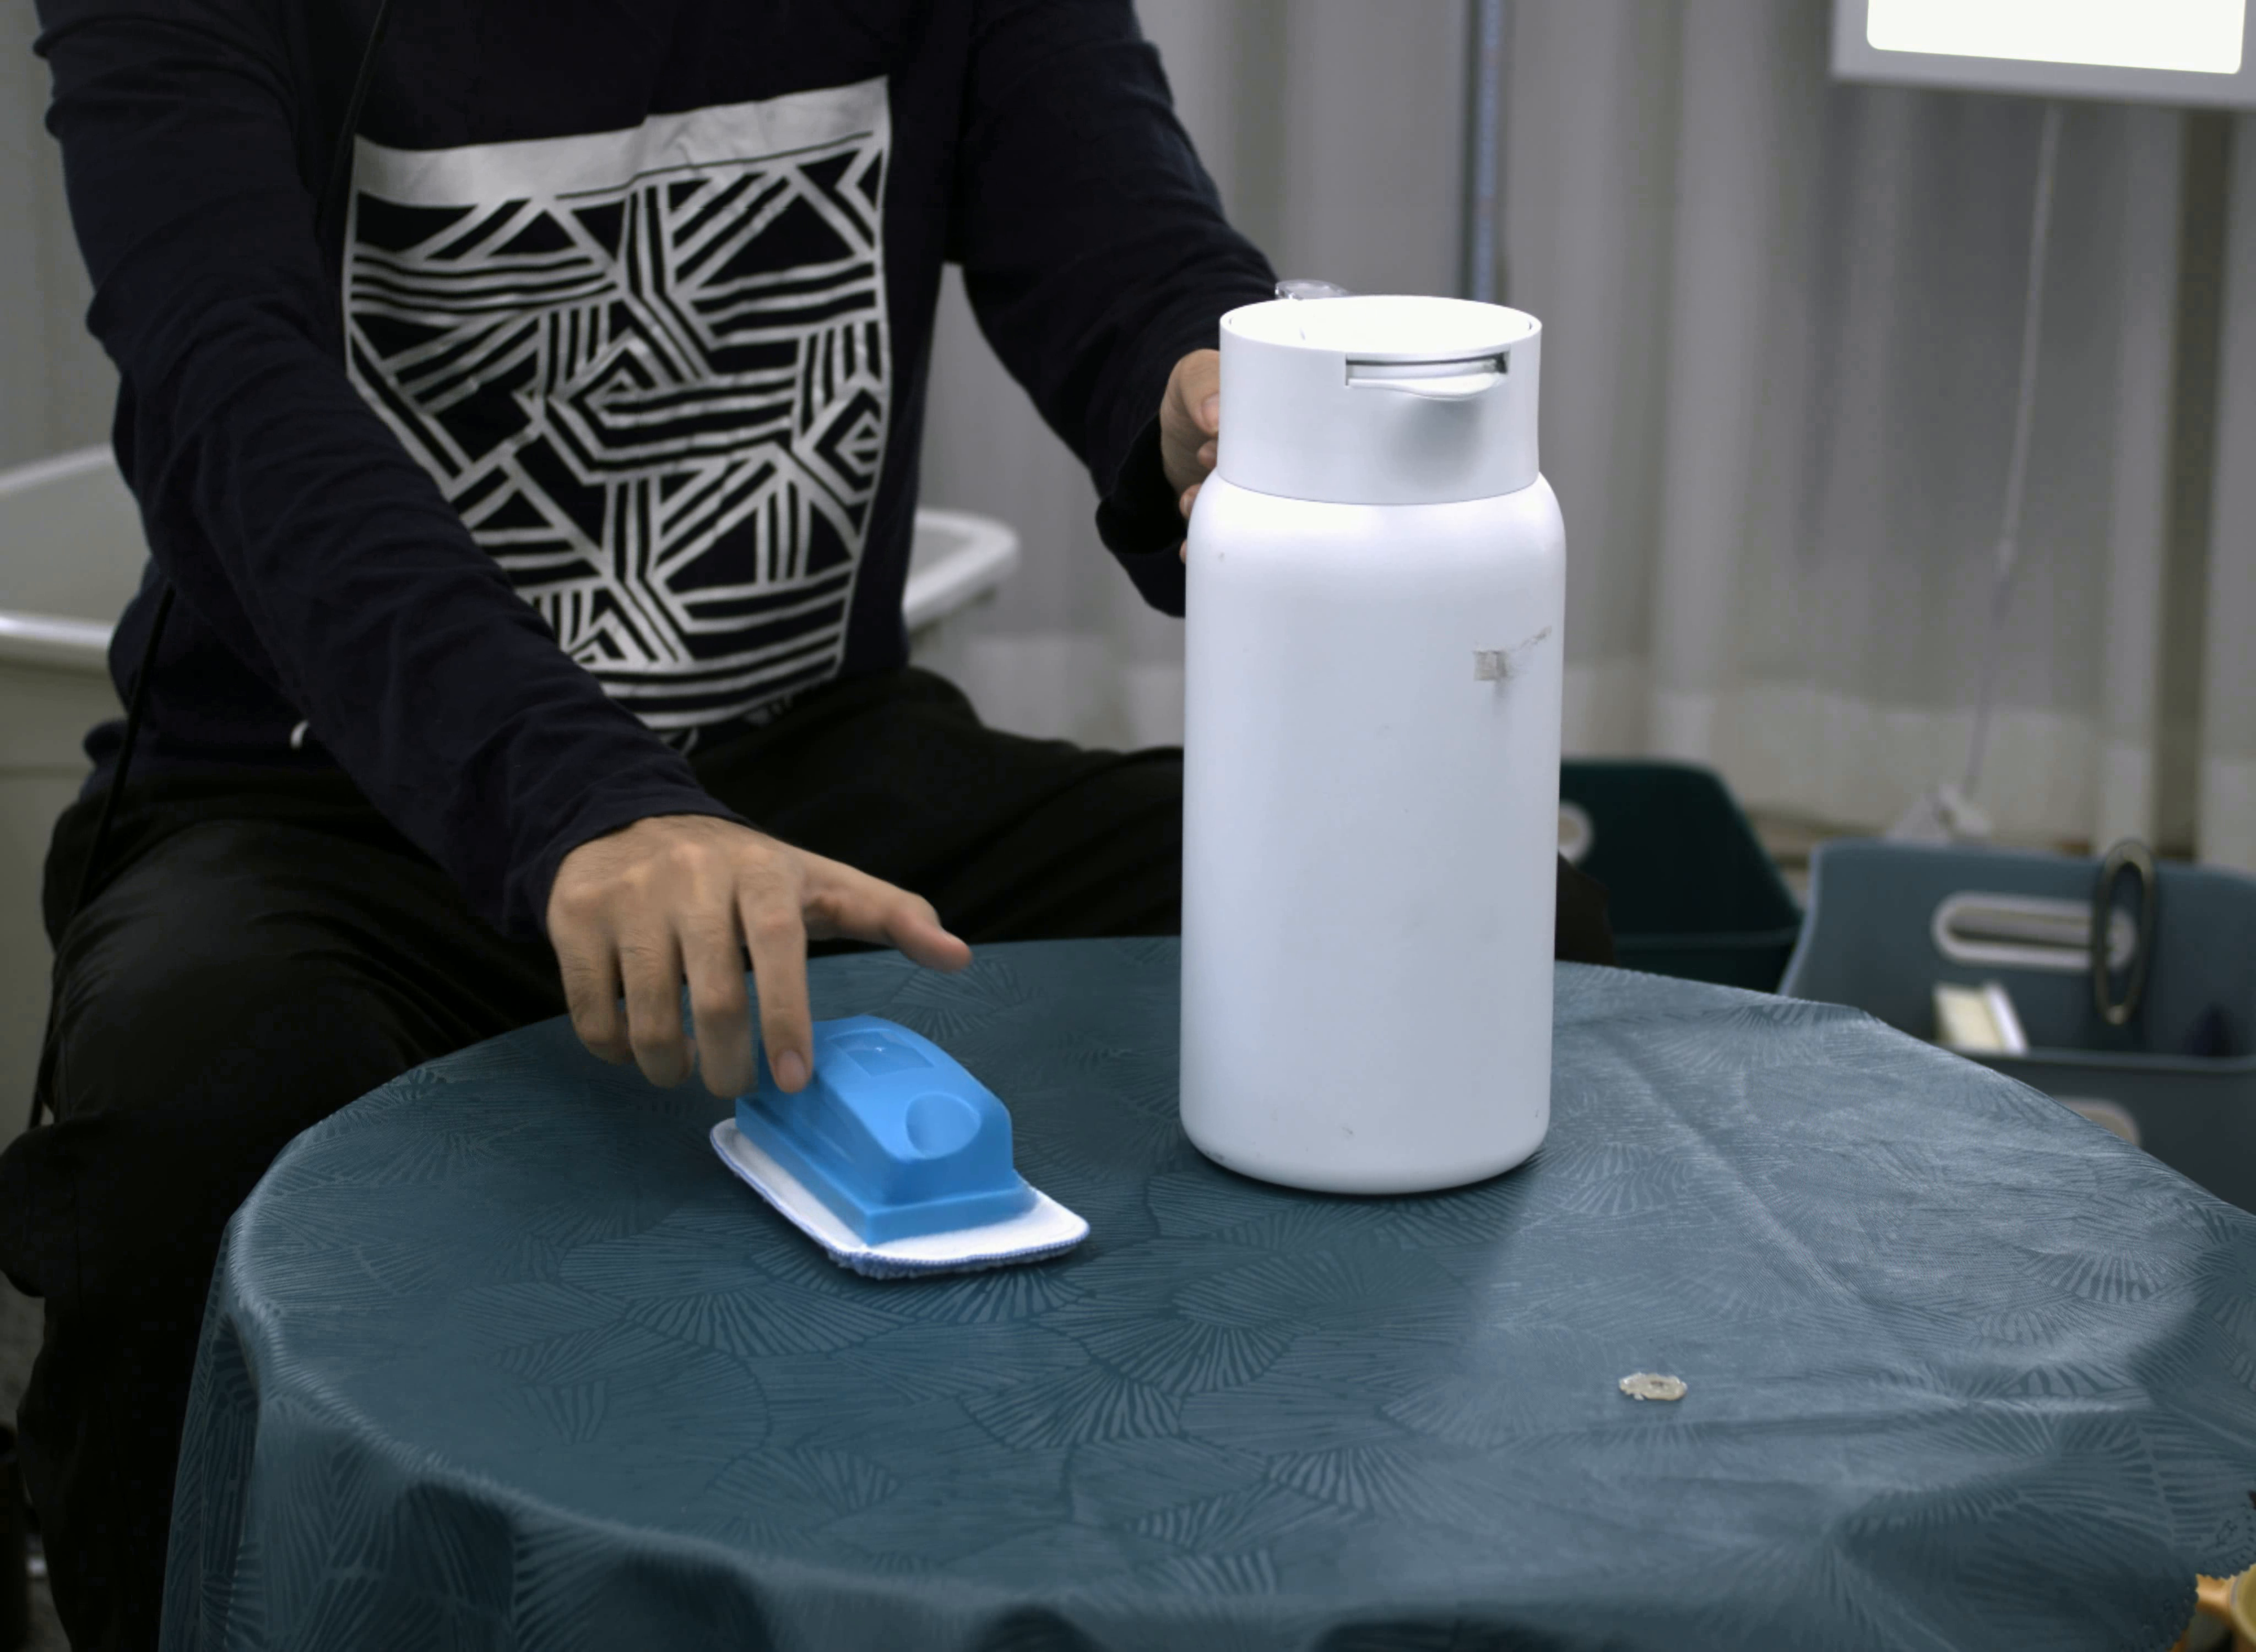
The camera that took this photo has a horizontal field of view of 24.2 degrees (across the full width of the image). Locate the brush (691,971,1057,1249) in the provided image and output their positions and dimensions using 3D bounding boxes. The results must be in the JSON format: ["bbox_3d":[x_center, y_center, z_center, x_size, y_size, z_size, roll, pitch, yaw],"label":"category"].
[{"bbox_3d":[-0.076,0.084,1.605,0.084,0.056,0.142,-3,20,-22],"label":"brush"}]

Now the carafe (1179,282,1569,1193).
[{"bbox_3d":[0.069,-0.032,1.648,0.124,0.271,0.171,-7,17,-19],"label":"carafe"}]
